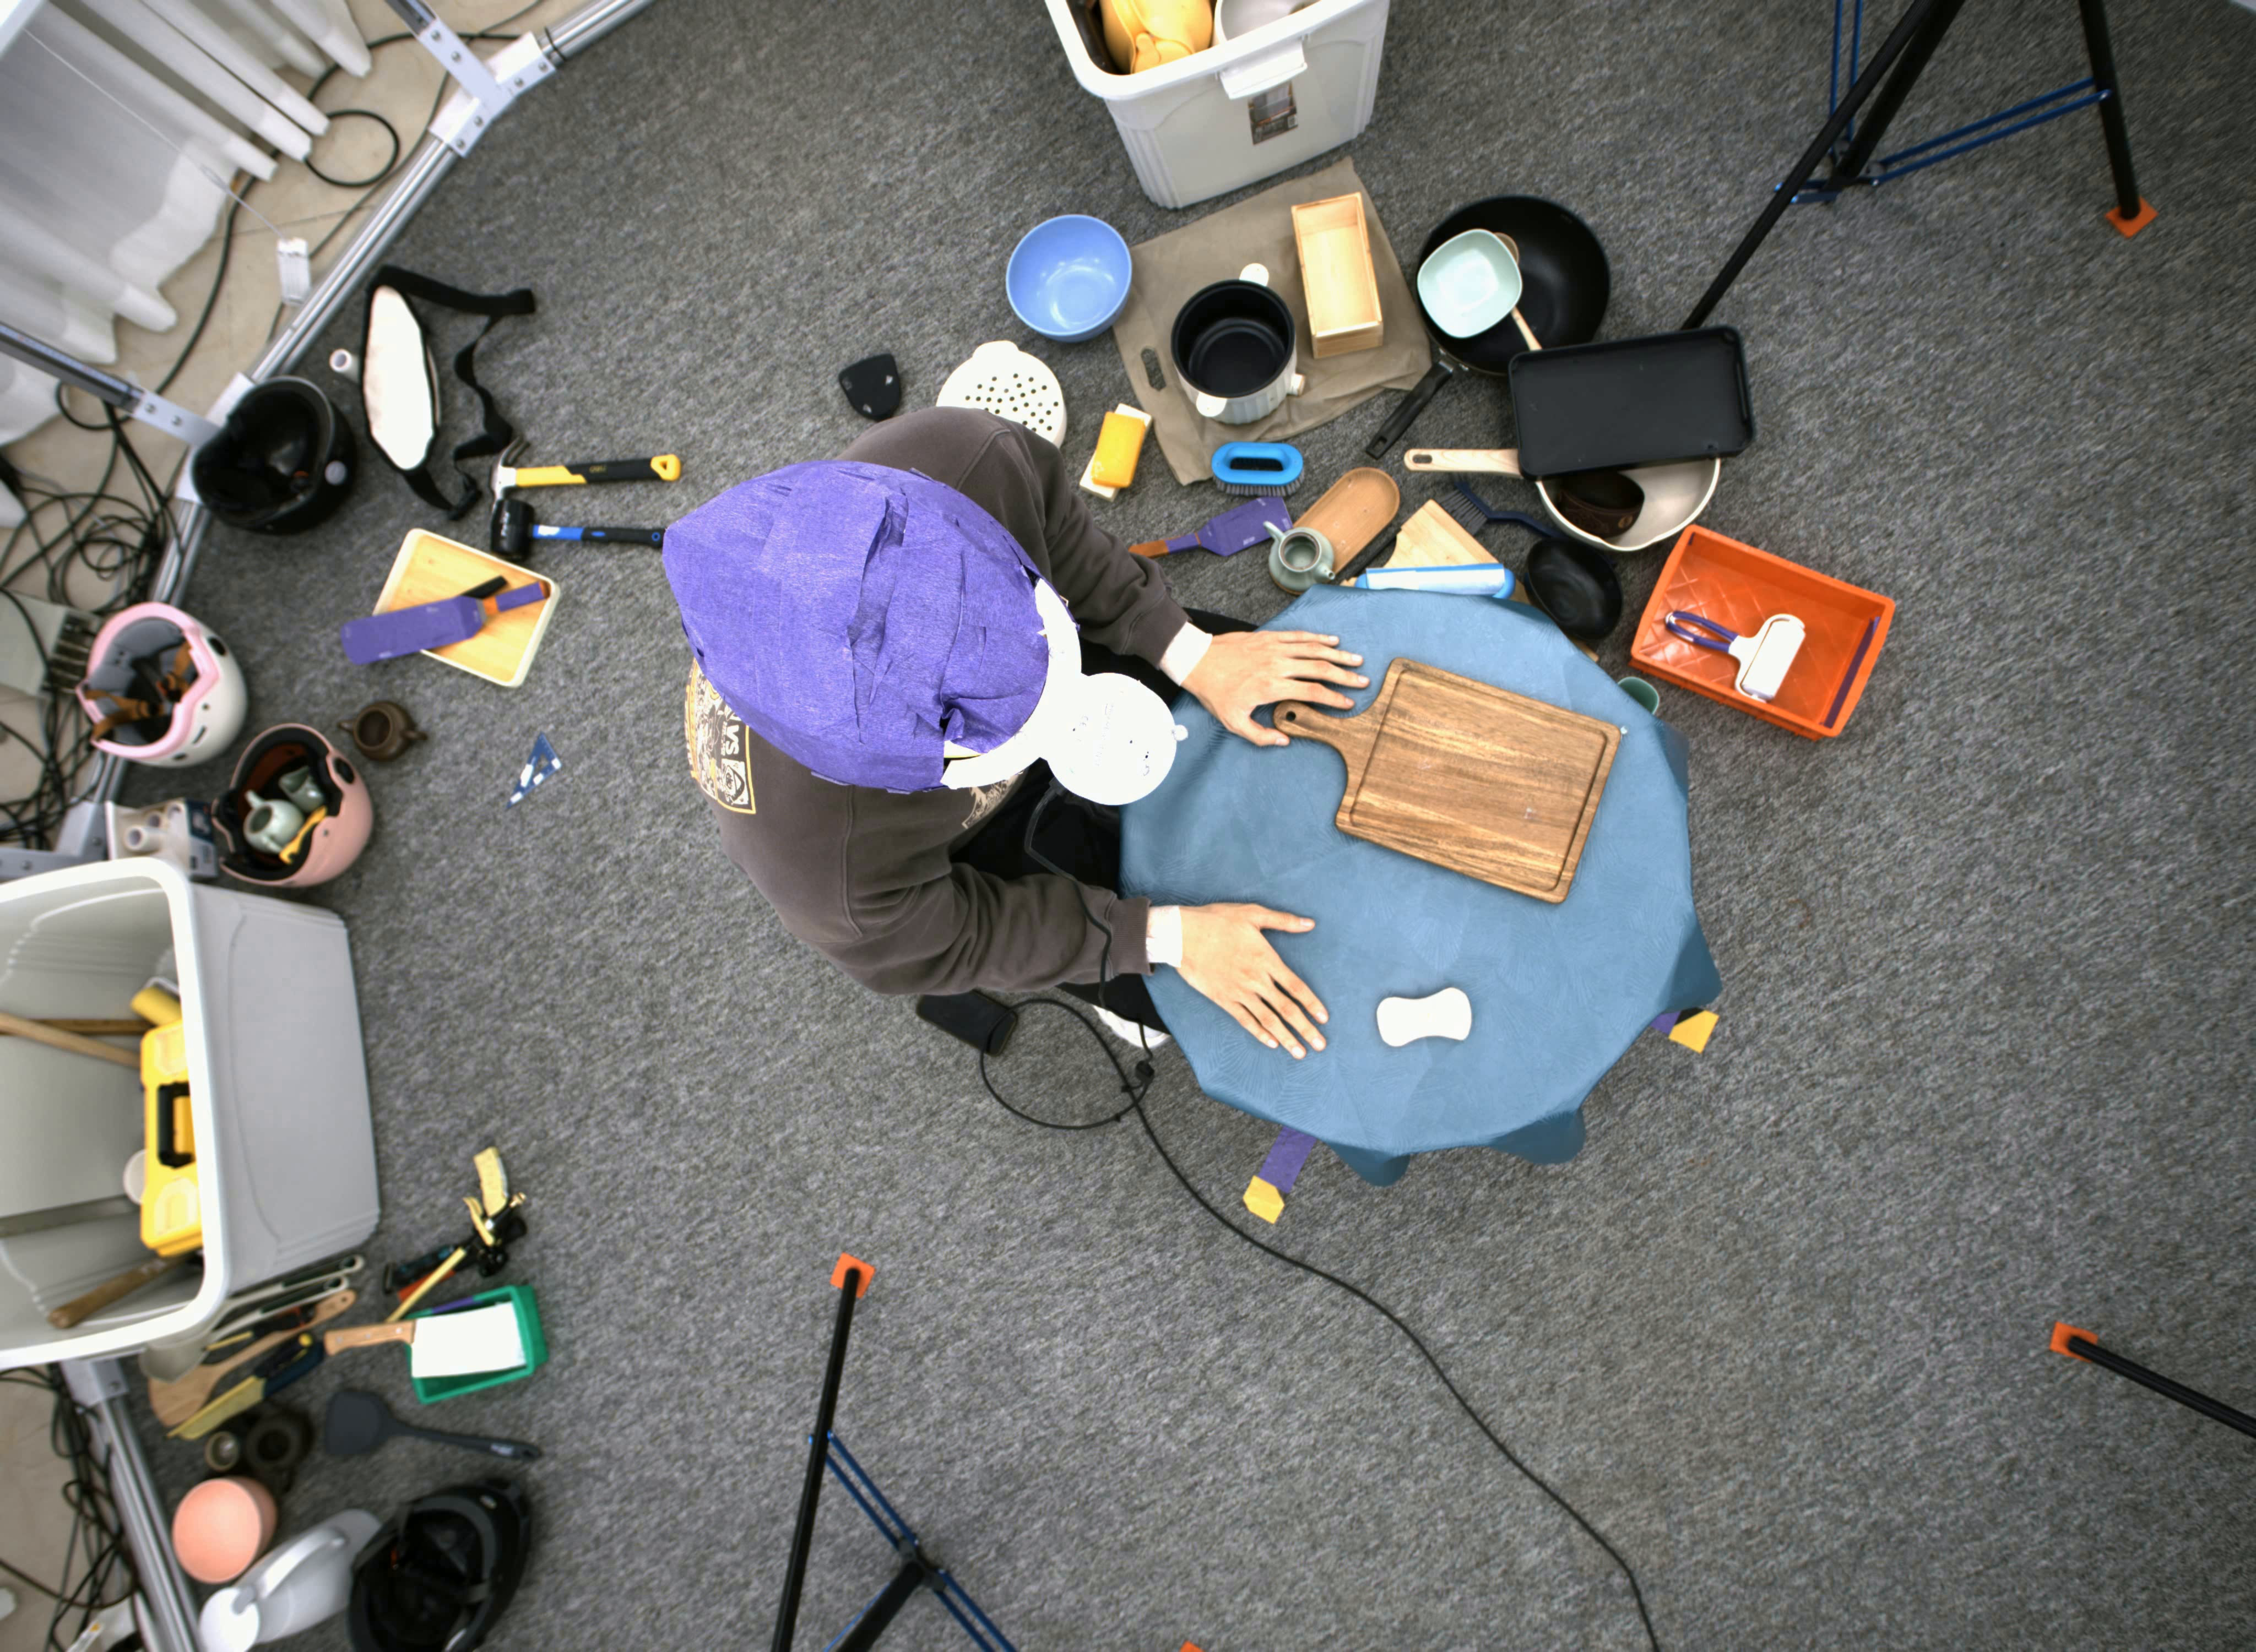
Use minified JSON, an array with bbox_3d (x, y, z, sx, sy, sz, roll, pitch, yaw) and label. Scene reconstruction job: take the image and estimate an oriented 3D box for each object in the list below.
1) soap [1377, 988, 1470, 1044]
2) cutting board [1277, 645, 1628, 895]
[{"bbox_3d":[0.306,0.195,1.431,0.095,0.030,0.050,-9,84,11],"label":"soap"},{"bbox_3d":[0.325,-0.079,1.444,0.352,0.023,0.201,20,91,11],"label":"cutting board"}]
